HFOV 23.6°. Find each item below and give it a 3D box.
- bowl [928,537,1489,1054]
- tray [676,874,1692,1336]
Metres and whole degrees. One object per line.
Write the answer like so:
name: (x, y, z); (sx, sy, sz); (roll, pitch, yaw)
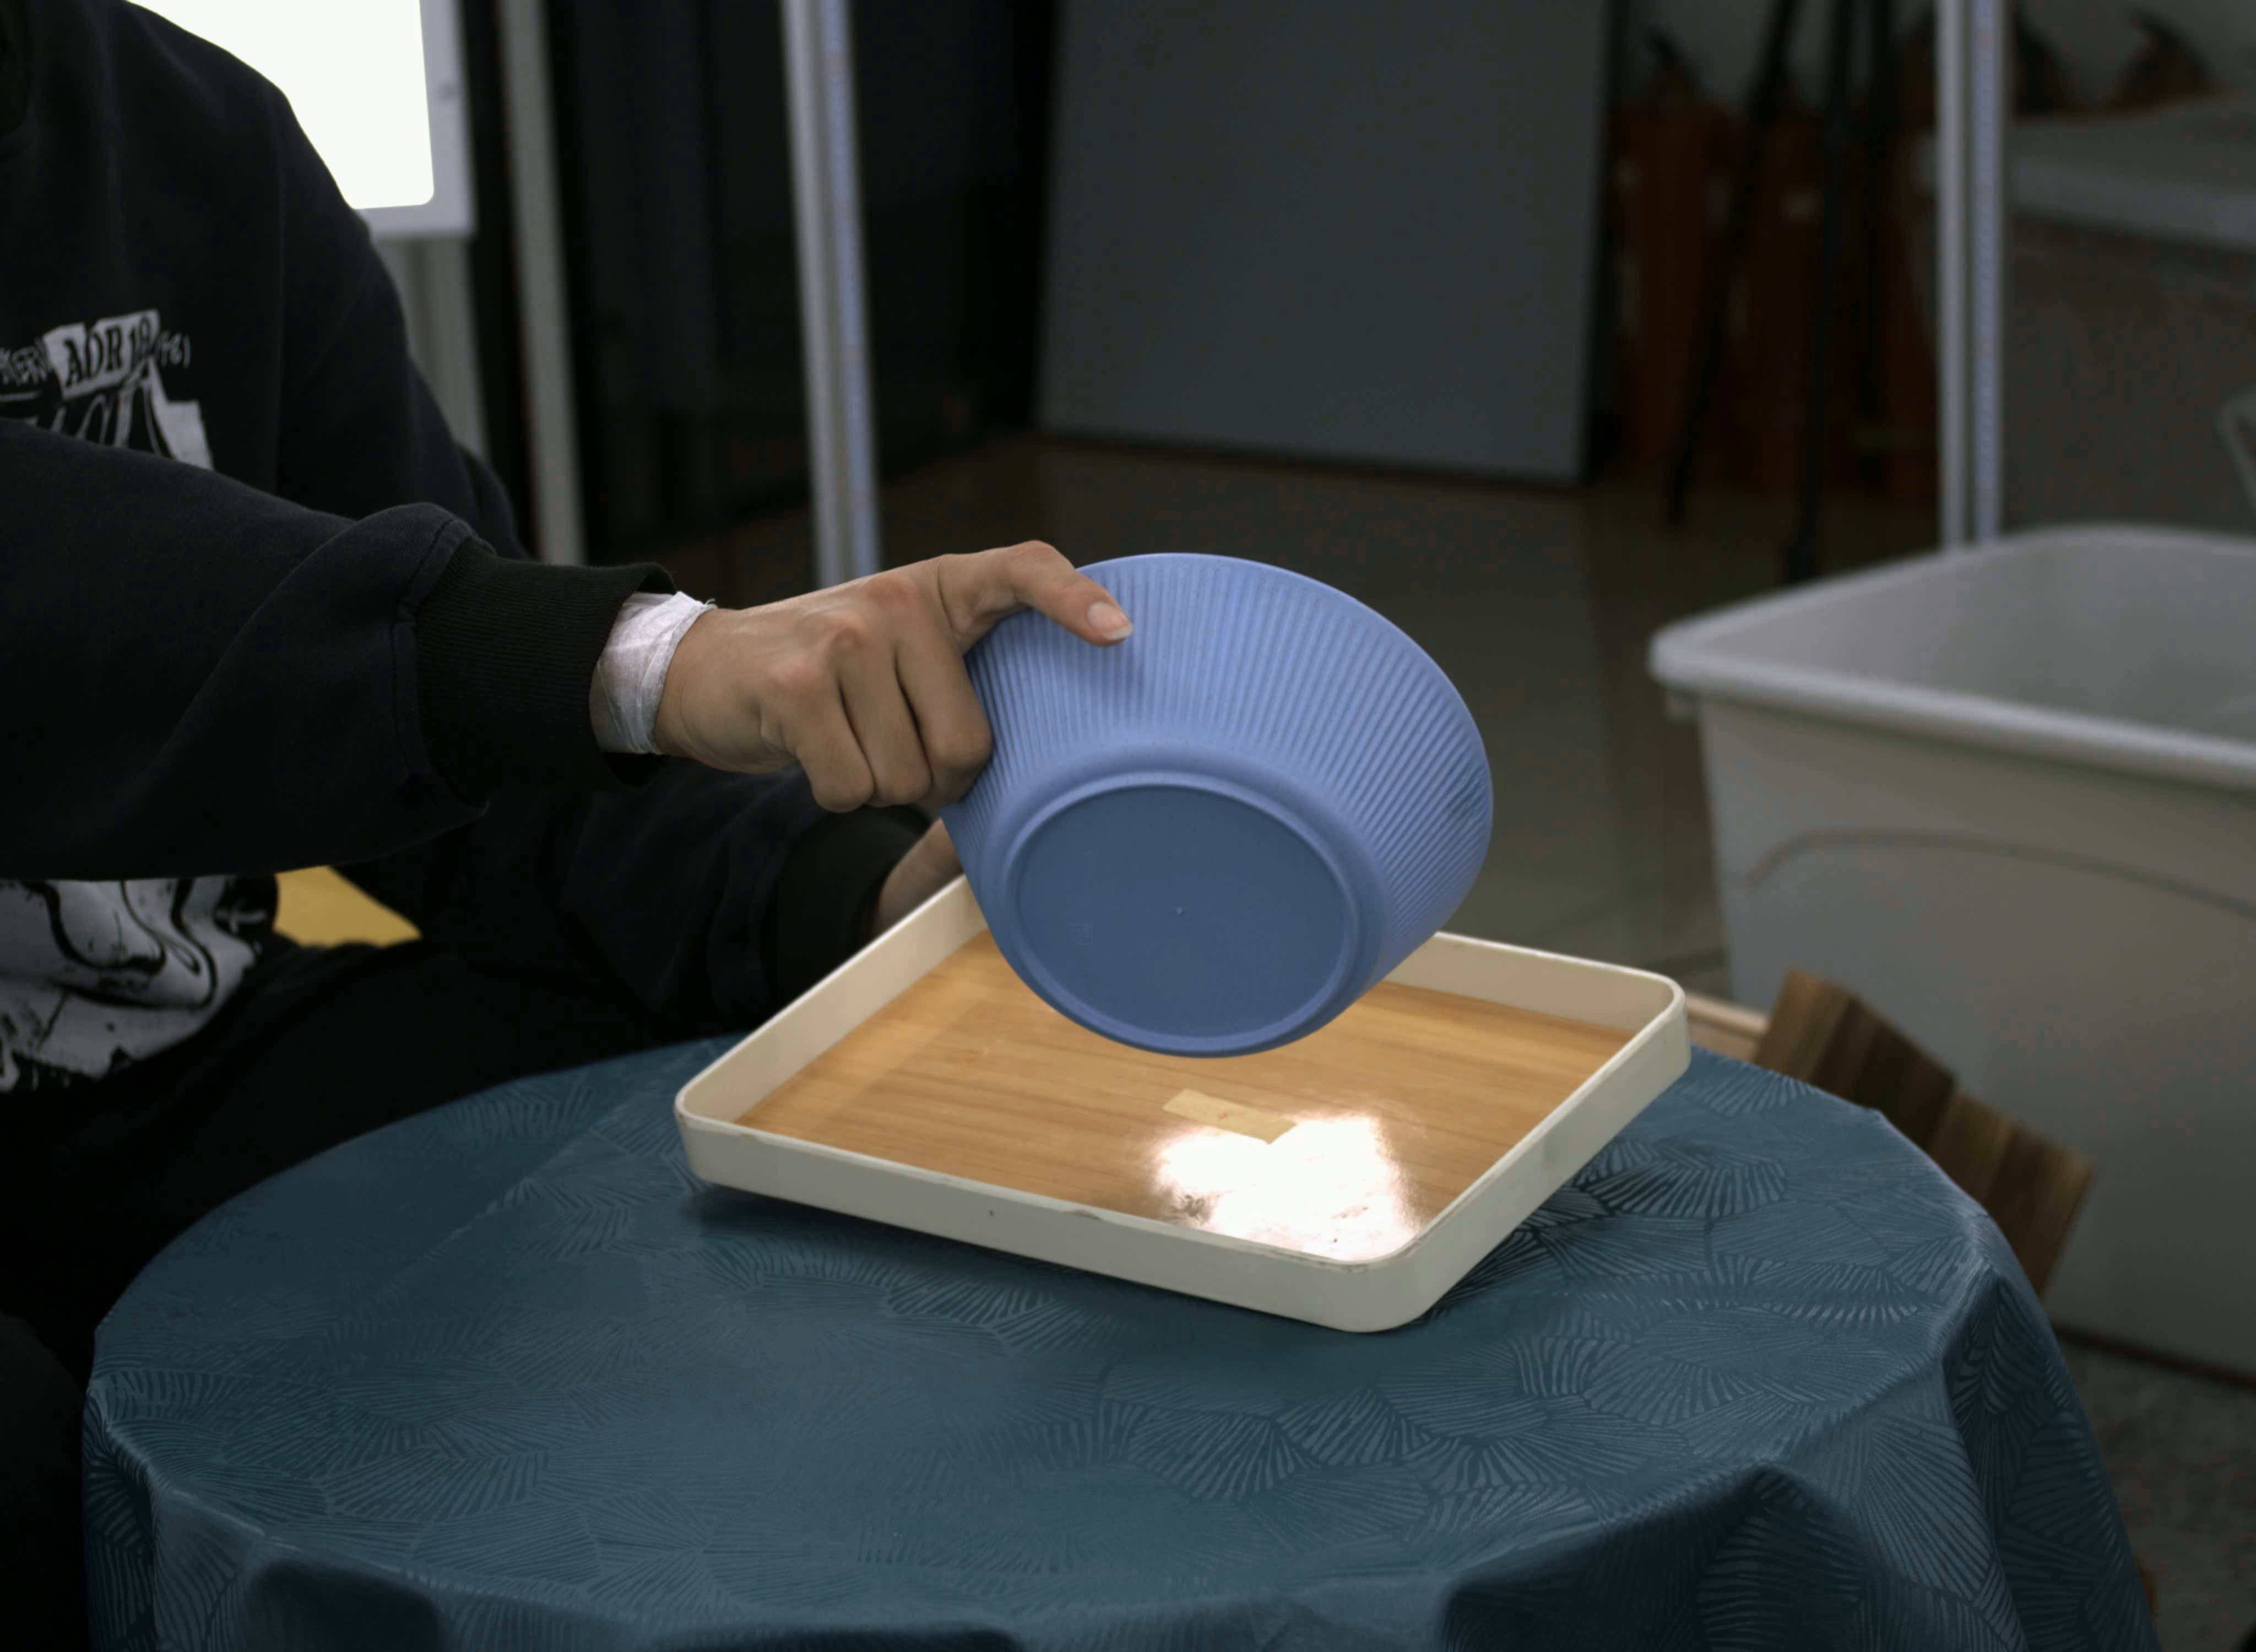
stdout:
bowl: (0.020, 0.004, 1.623); (0.175, 0.177, 0.070); (0, 38, 12)
tray: (0.017, 0.084, 1.761); (0.302, 0.027, 0.189); (10, 34, 38)
